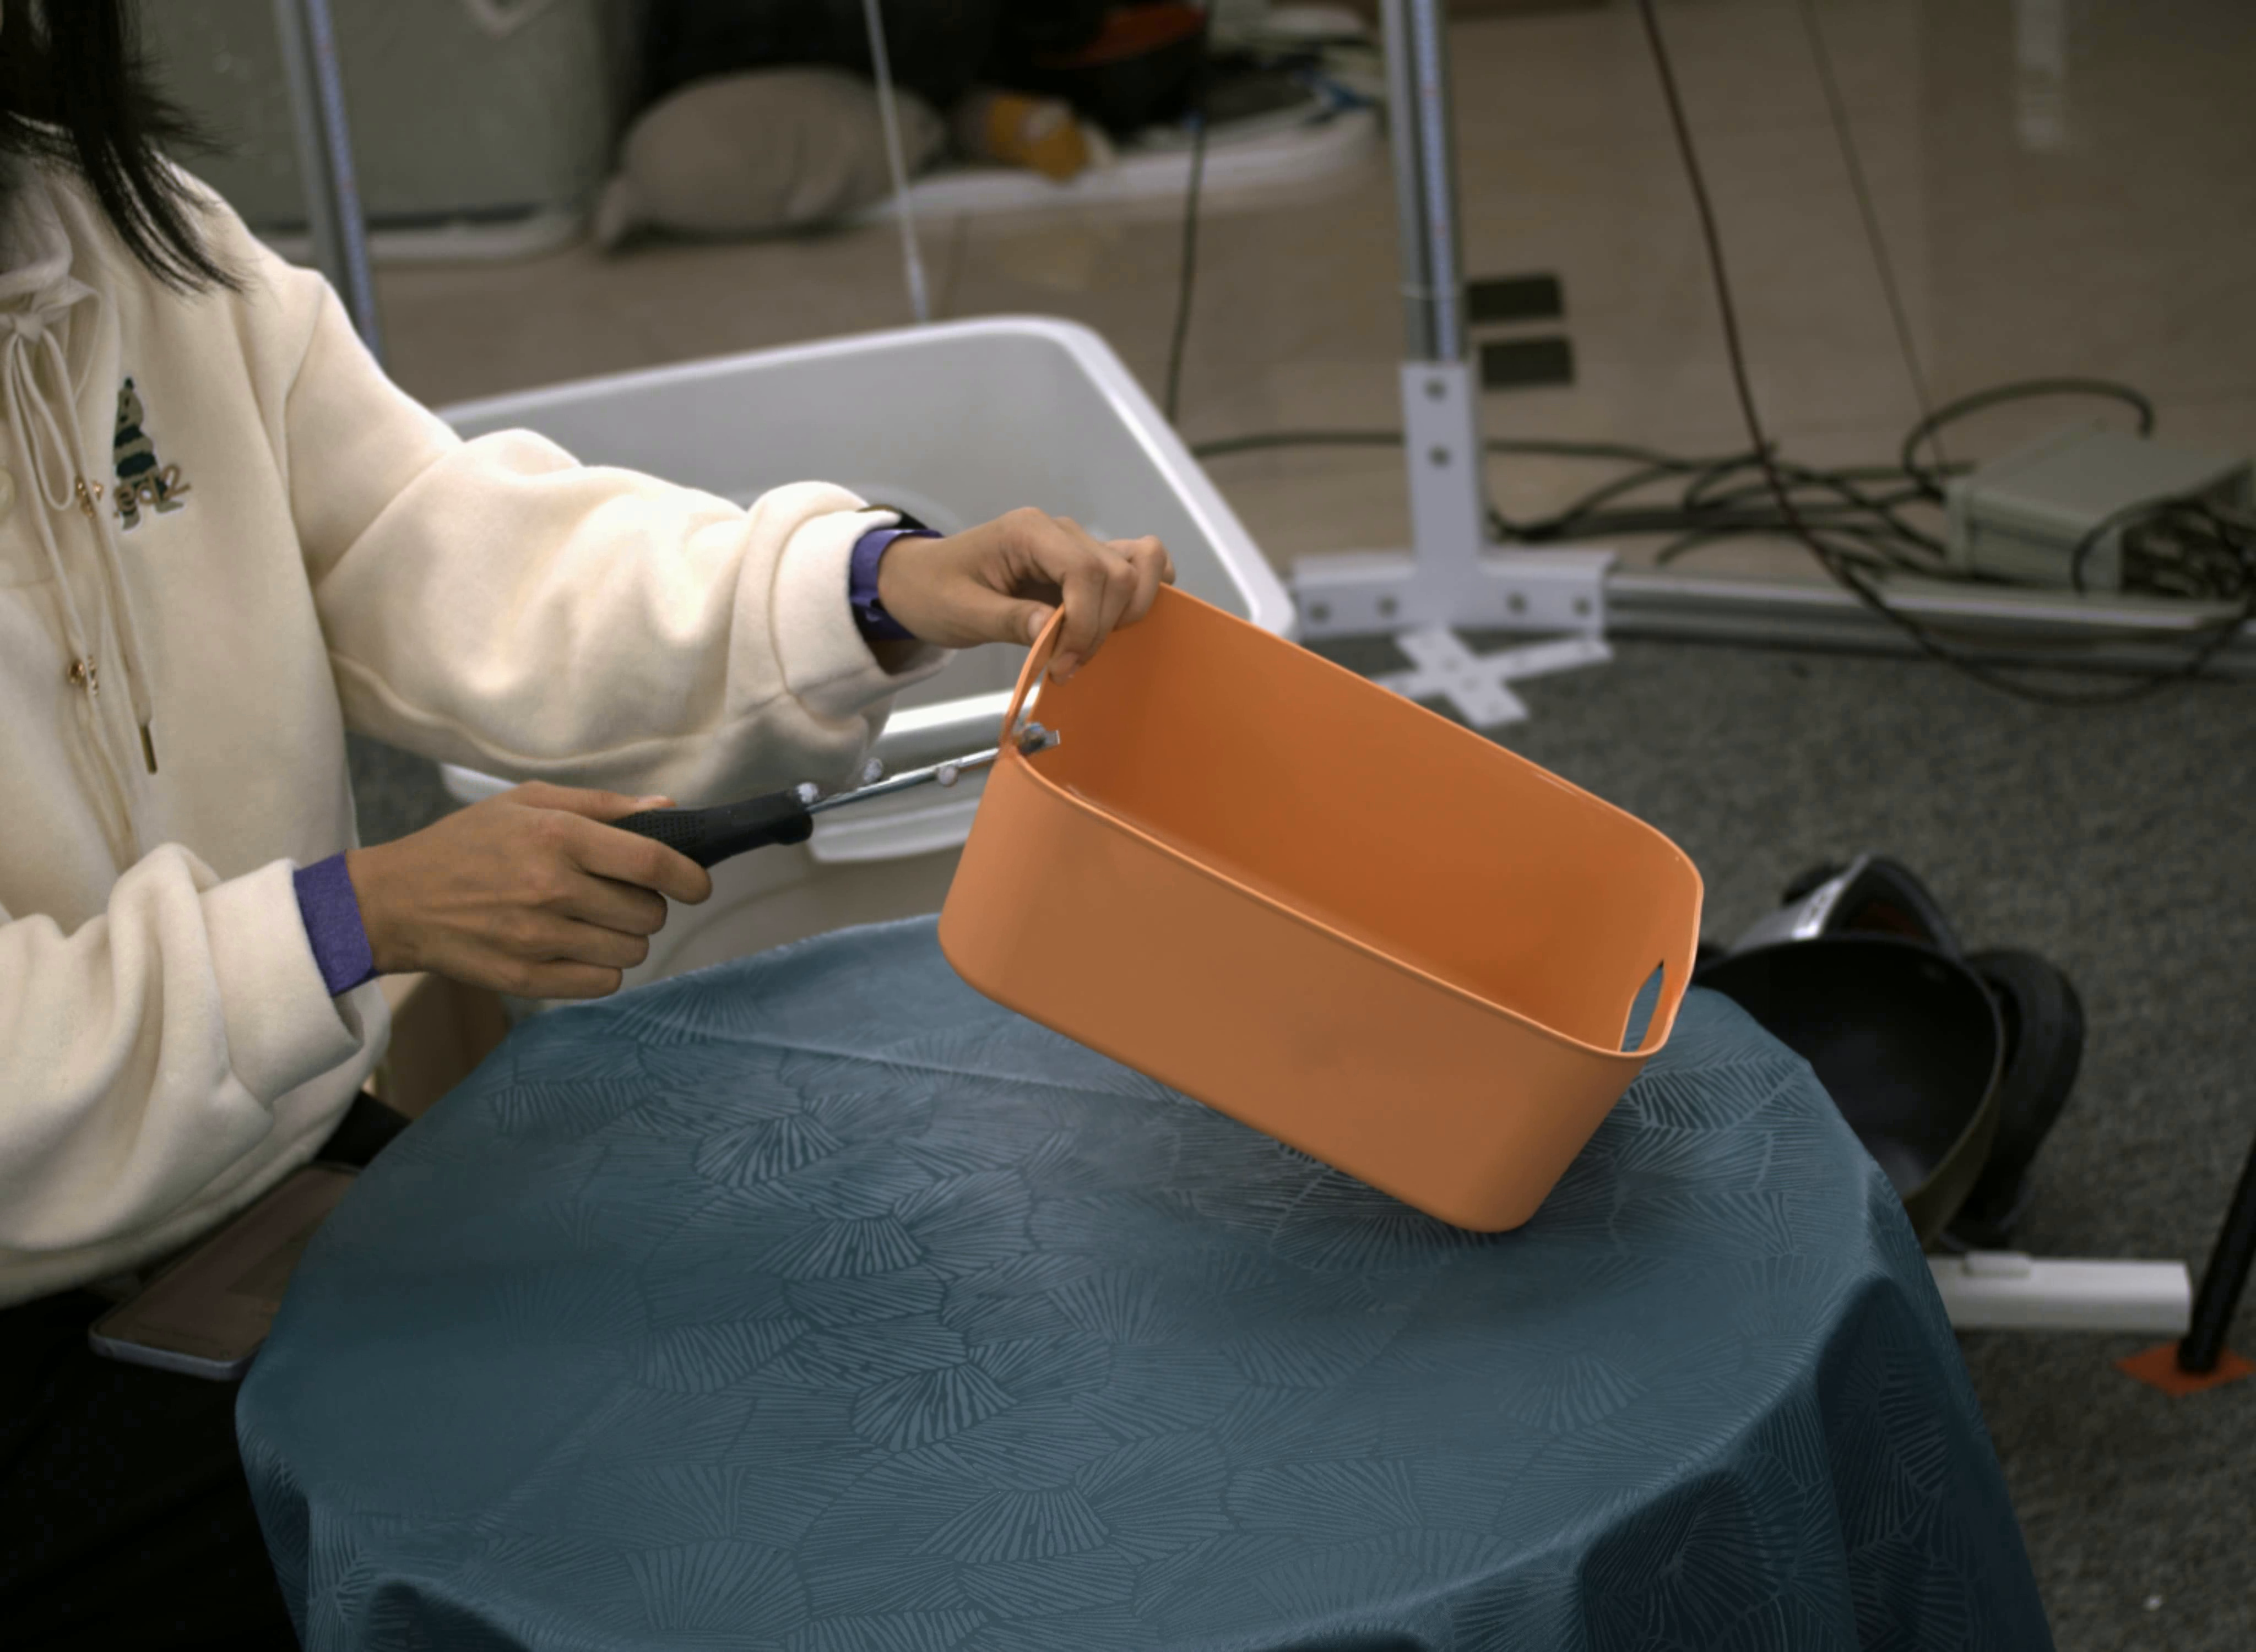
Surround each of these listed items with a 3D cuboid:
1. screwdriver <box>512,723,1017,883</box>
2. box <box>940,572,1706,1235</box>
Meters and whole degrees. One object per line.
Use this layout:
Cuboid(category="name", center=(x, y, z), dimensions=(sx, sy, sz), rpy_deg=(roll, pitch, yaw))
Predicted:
Cuboid(category="screwdriver", center=(-0.134, -0.016, 2.103), dimensions=(0.197, 0.032, 0.031), rpy_deg=(-16, 25, 4))
Cuboid(category="box", center=(0.069, 0.031, 2.121), dimensions=(0.273, 0.104, 0.196), rpy_deg=(26, 29, -2))
